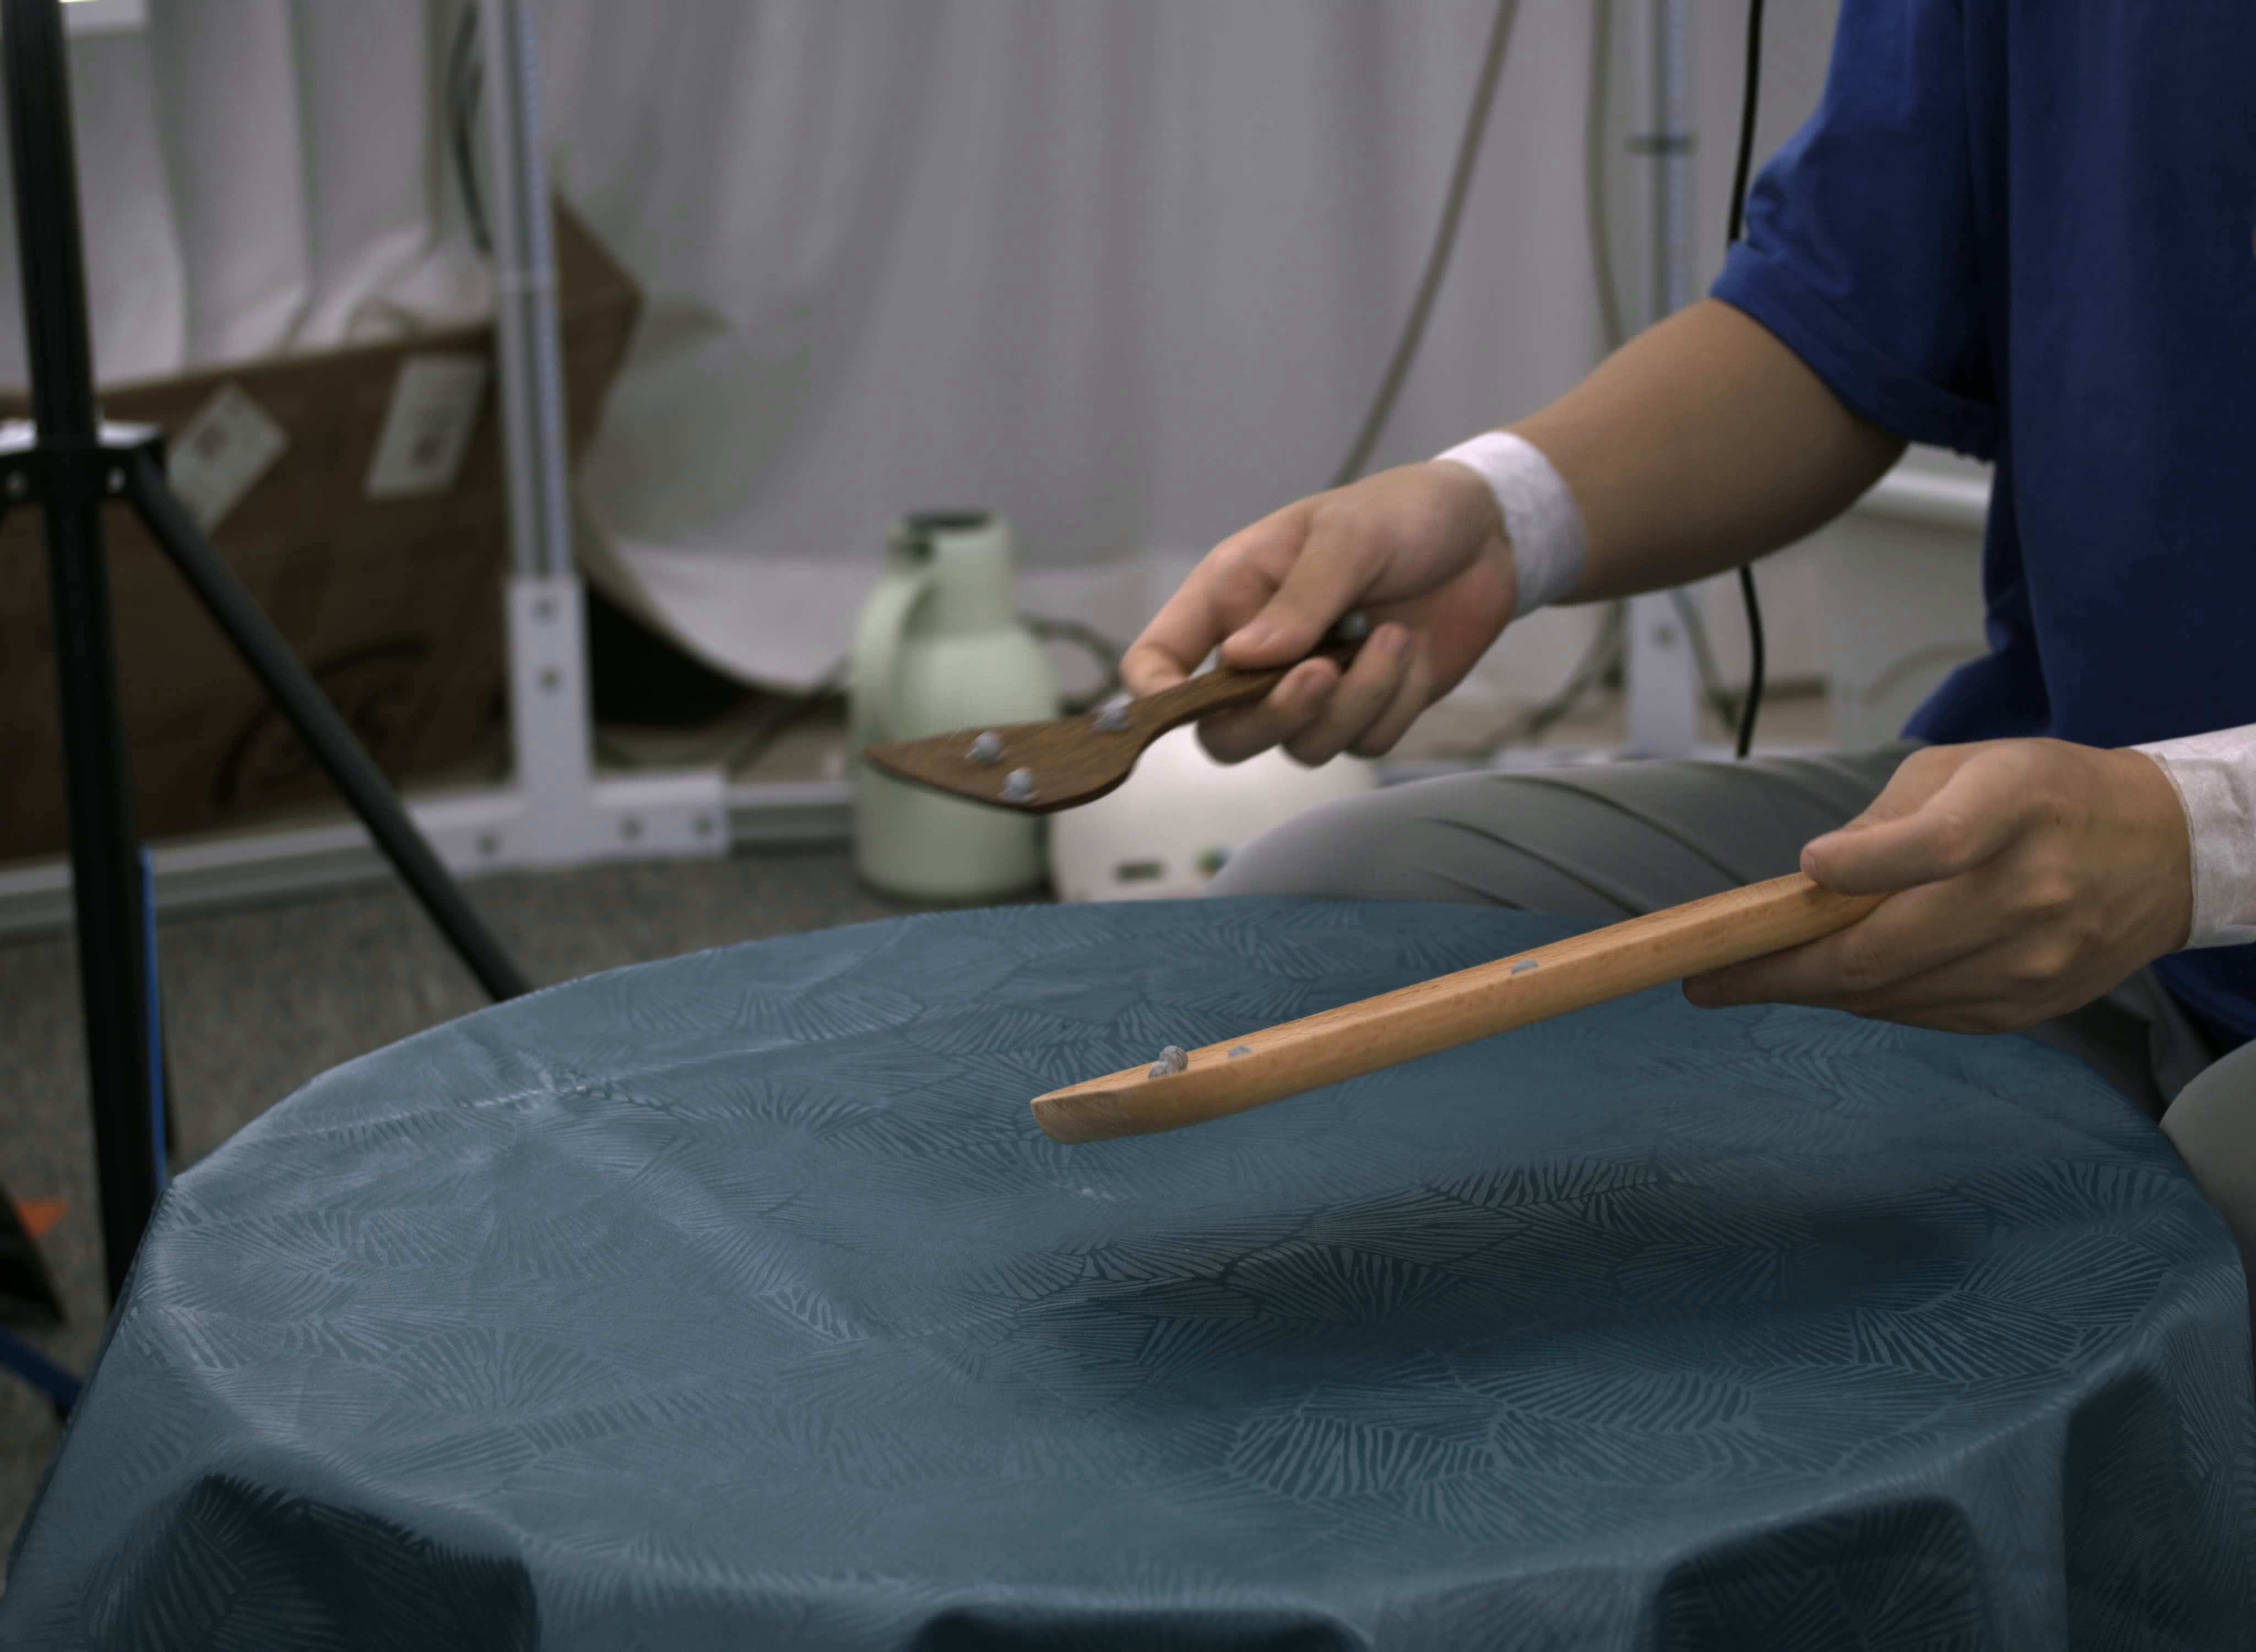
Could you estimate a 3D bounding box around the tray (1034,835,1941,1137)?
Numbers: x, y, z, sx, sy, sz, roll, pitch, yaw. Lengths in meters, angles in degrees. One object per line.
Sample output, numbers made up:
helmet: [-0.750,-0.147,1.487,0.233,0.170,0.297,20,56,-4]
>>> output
tray: [0.101,0.046,1.479,0.247,0.023,0.132,-15,1,-17]

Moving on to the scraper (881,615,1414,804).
scraper: [0.016,-0.040,1.684,0.077,0.011,0.206,21,29,39]
